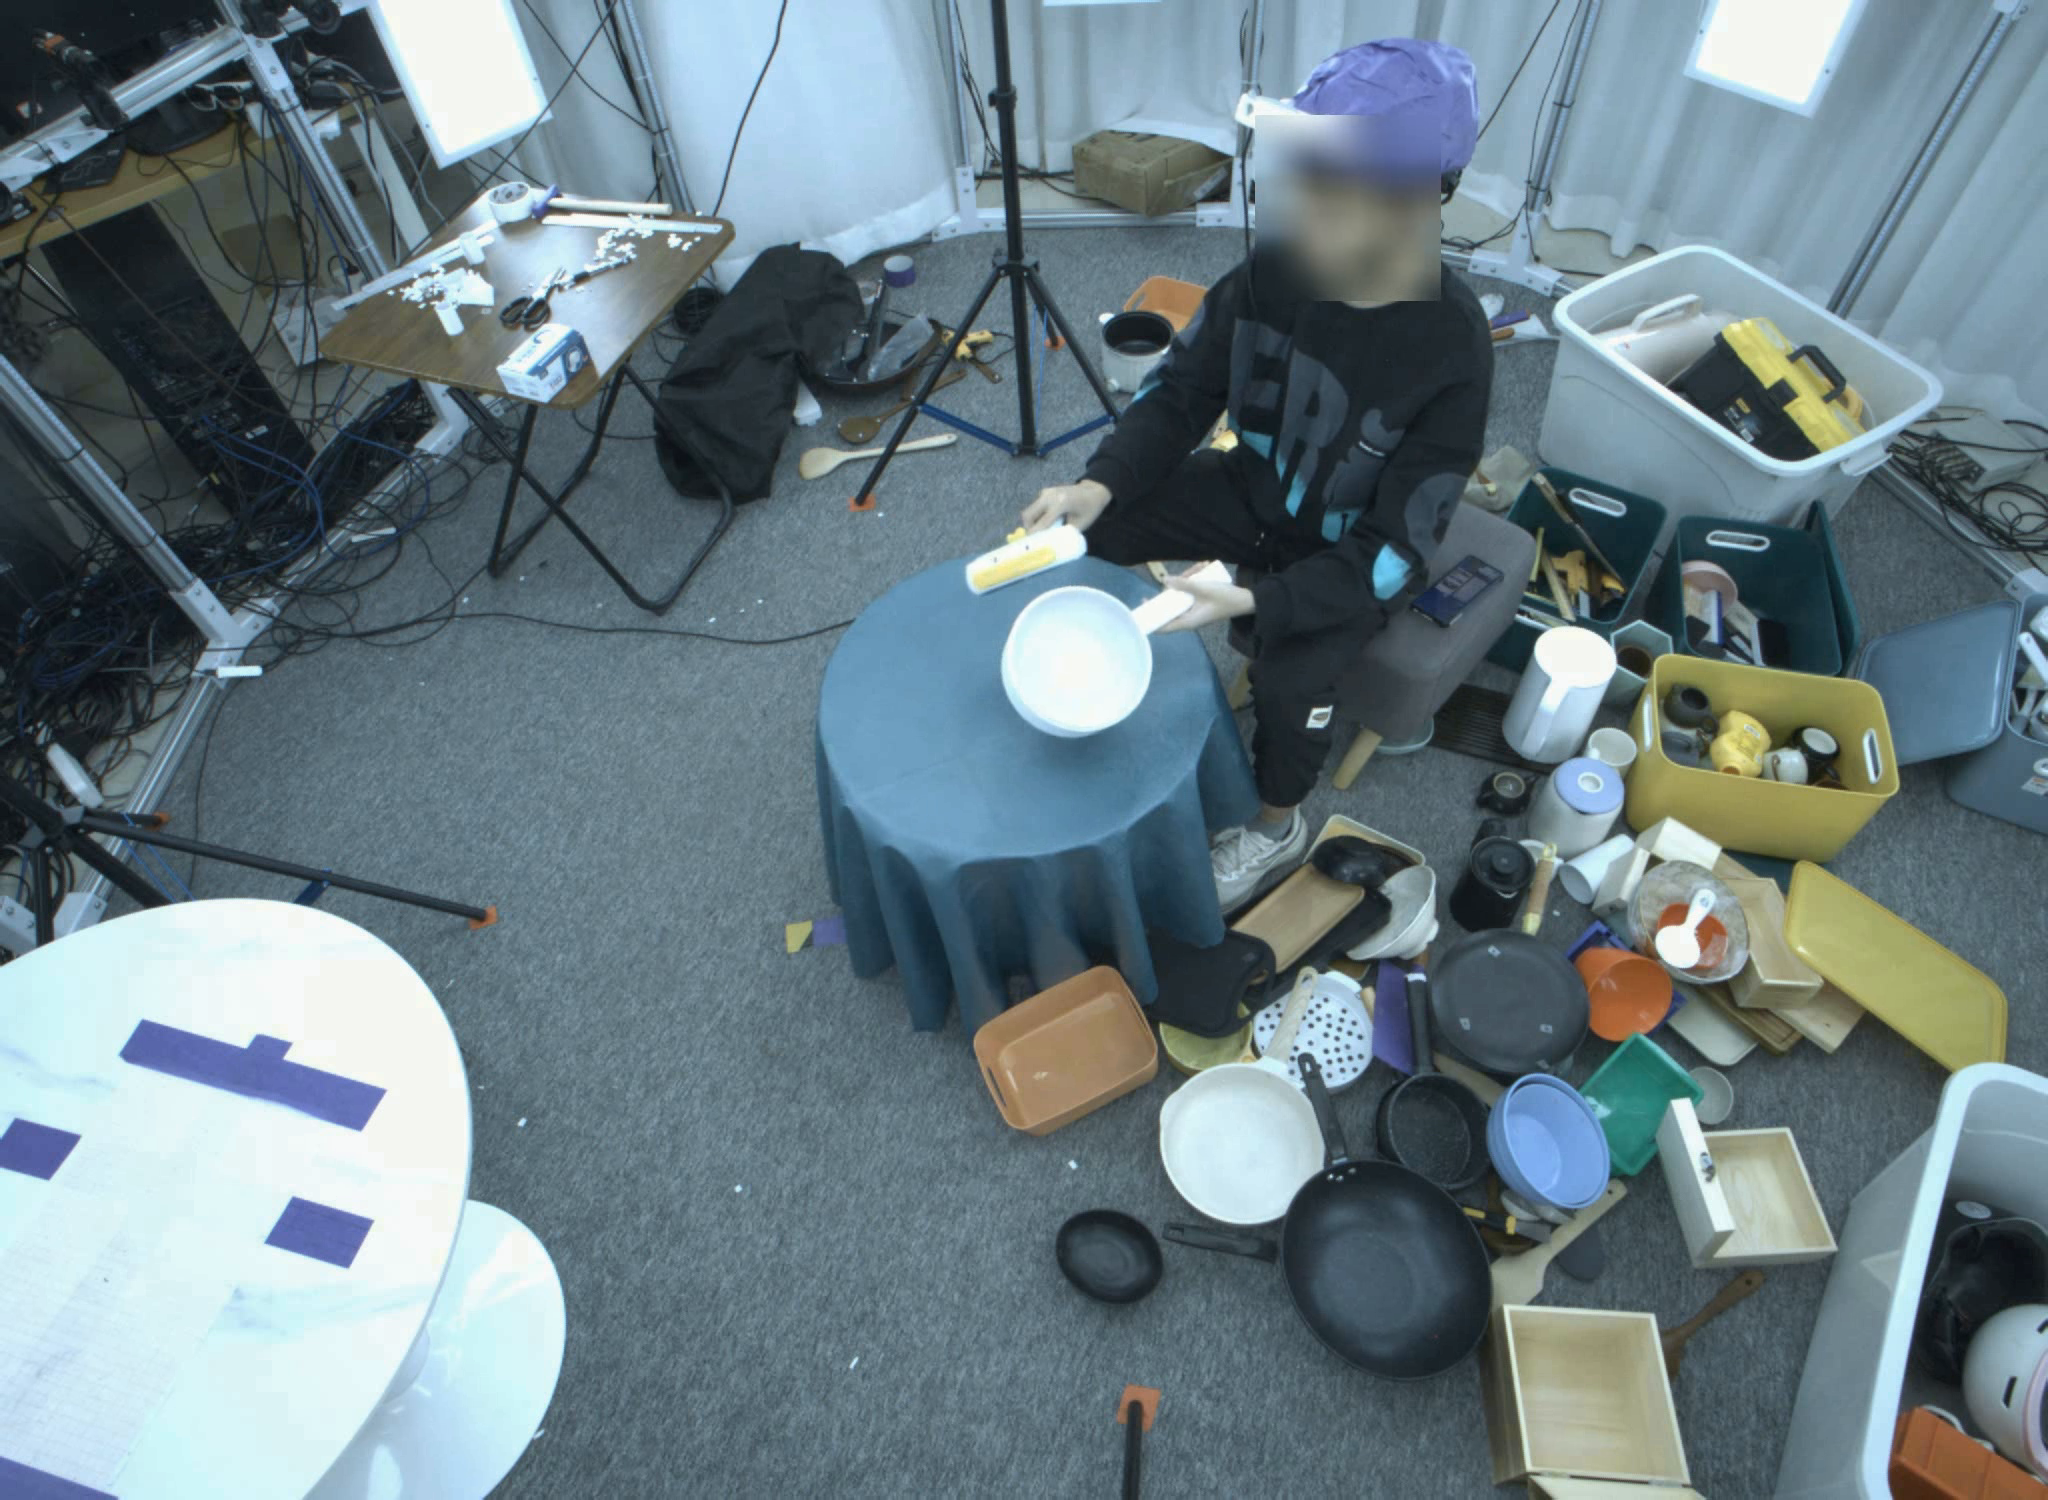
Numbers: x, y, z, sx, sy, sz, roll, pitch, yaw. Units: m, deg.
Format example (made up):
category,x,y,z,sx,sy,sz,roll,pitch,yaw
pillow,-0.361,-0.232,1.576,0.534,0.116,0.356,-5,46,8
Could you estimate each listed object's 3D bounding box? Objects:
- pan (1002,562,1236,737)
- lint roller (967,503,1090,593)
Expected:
category,x,y,z,sx,sy,sz,roll,pitch,yaw
pan,0.133,-0.157,1.720,0.357,0.101,0.201,-32,90,-15
lint roller,0.022,-0.304,1.780,0.190,0.075,0.193,-22,16,33
